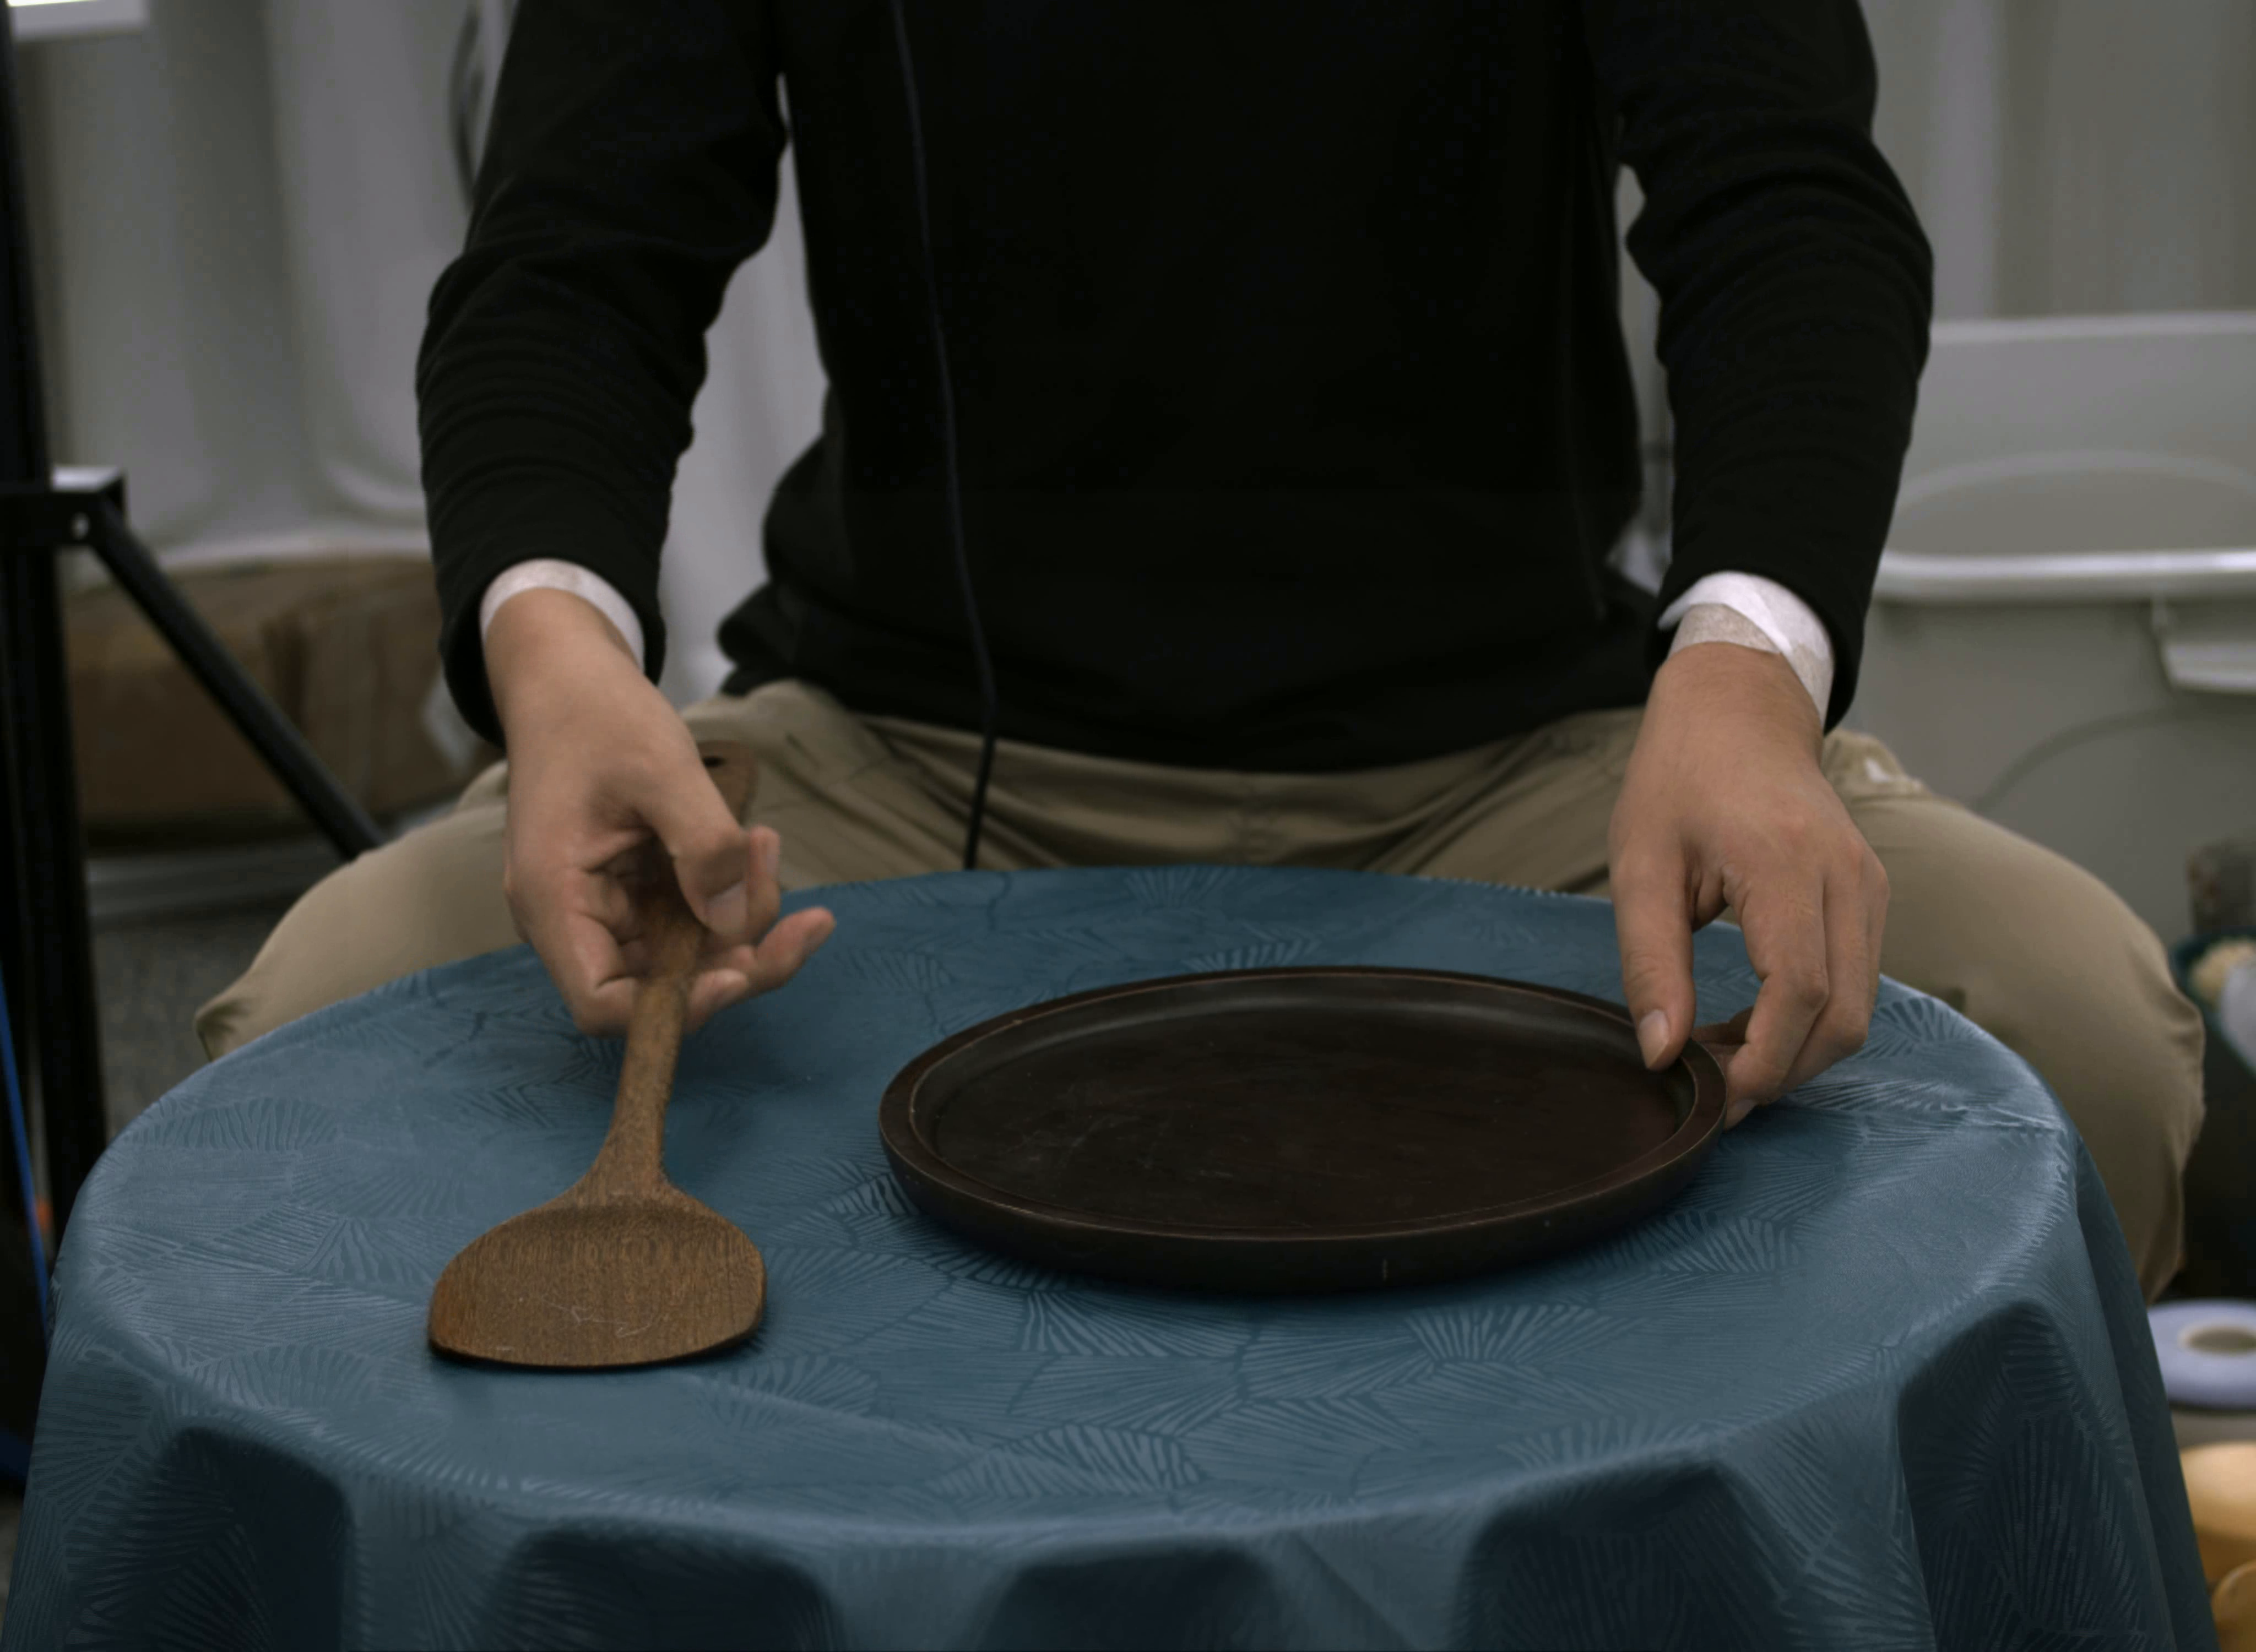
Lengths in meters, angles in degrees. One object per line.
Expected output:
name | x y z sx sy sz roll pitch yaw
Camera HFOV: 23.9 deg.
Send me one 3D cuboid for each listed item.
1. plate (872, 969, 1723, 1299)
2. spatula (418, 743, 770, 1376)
plate | 0.051 0.089 1.574 0.253 0.029 0.256 -4 15 0
spatula | -0.141 0.061 1.612 0.096 0.016 0.388 -1 27 3
